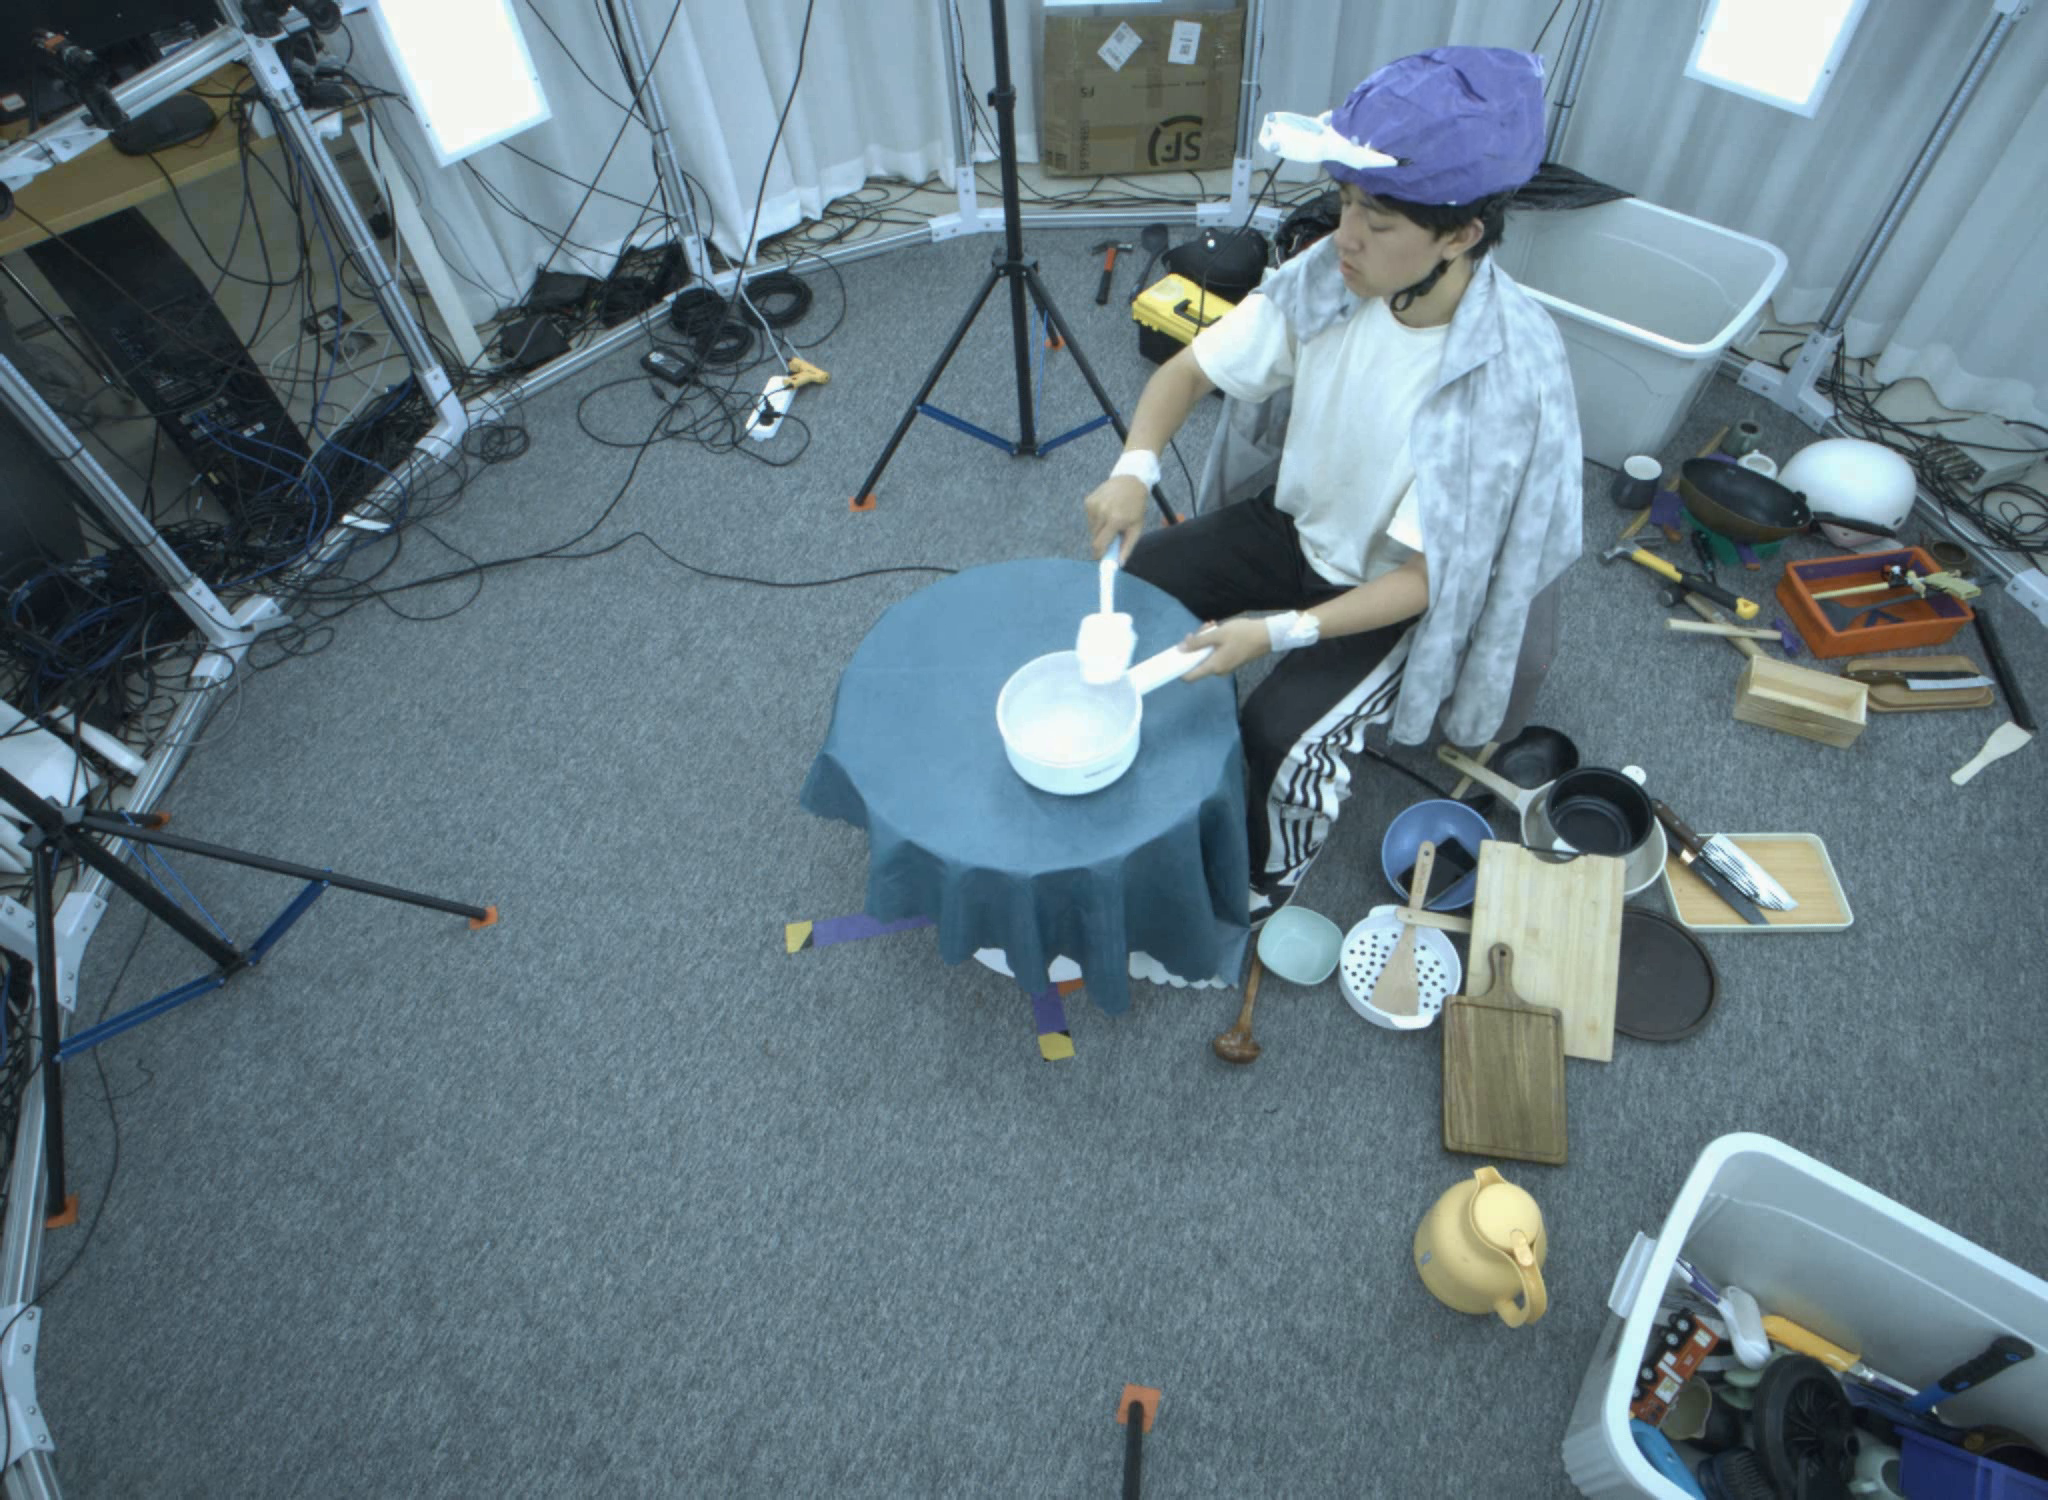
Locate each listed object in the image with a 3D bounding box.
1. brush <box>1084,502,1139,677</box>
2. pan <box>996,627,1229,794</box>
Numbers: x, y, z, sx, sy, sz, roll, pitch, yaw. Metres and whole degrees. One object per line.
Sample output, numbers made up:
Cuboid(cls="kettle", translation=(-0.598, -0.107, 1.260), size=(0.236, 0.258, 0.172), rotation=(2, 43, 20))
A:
Cuboid(cls="brush", translation=(0.134, -0.225, 1.774), size=(0.084, 0.084, 0.323), rotation=(21, 52, -17))
Cuboid(cls="pan", translation=(0.132, -0.067, 1.766), size=(0.357, 0.103, 0.197), rotation=(-26, 57, -14))
